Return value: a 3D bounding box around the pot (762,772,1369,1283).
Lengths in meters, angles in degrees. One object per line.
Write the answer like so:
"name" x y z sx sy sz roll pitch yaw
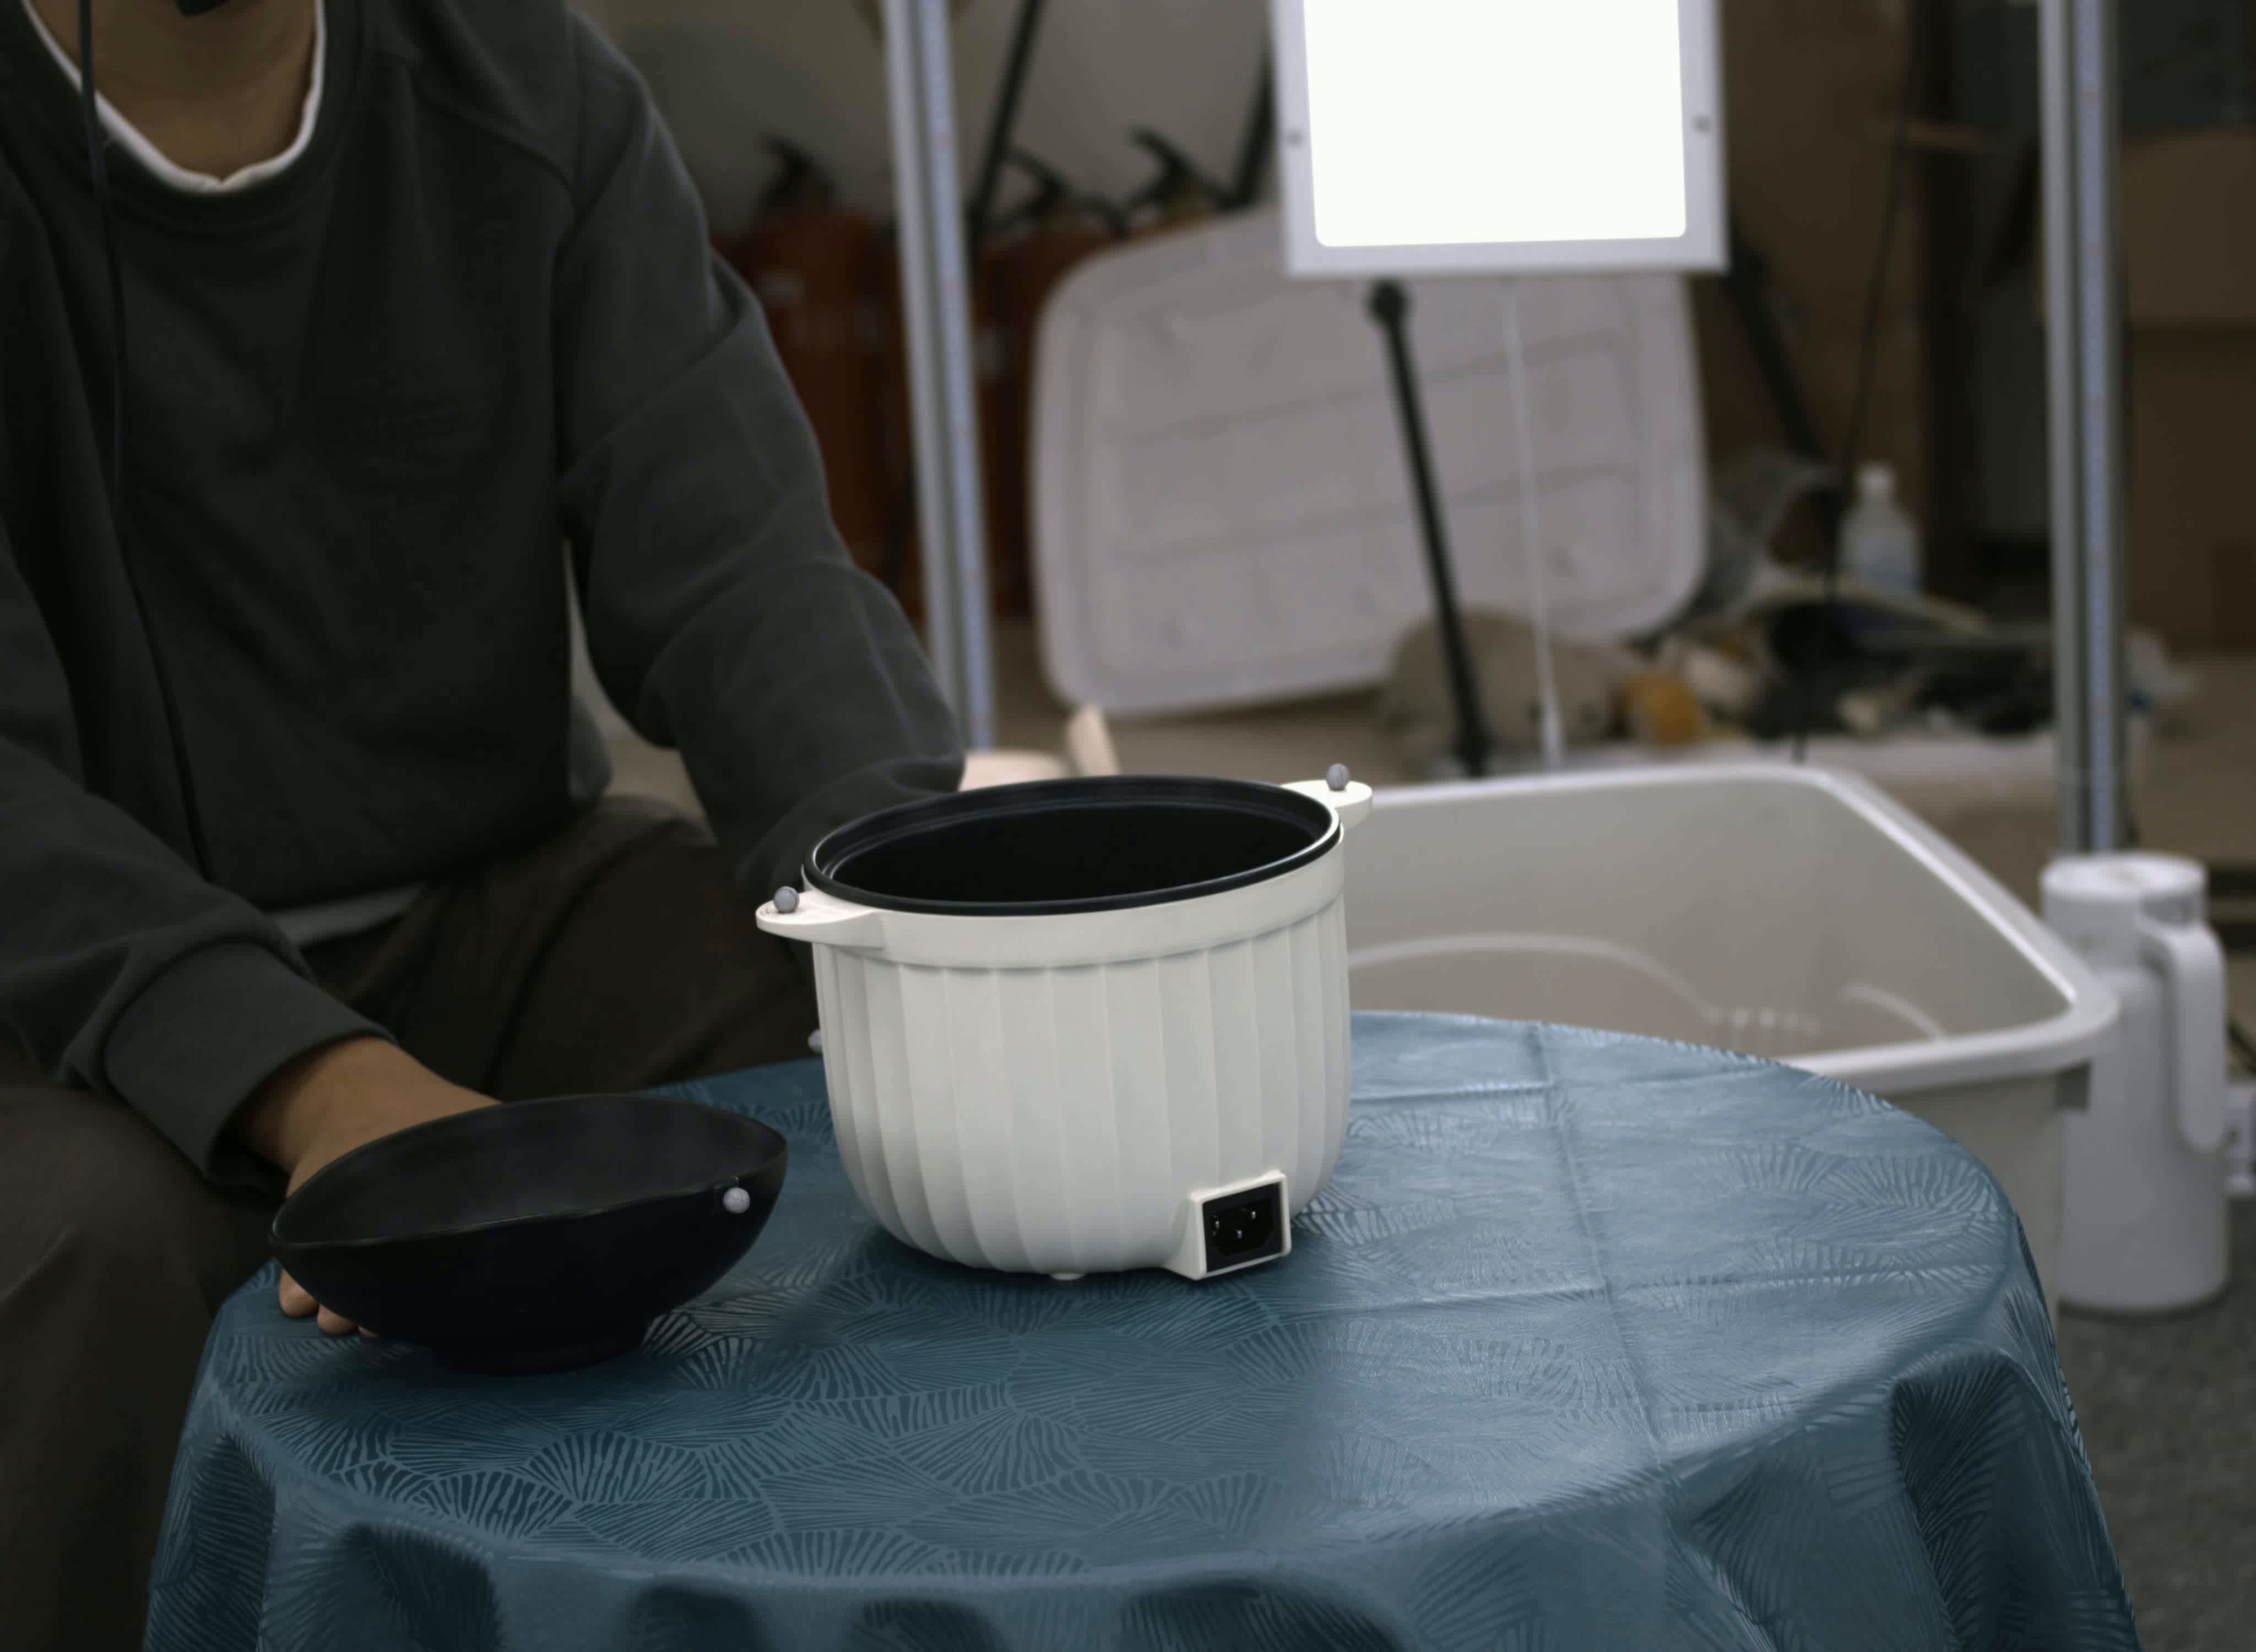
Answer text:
"pot" -0.018 0.068 1.856 0.235 0.143 0.194 -12 18 -32

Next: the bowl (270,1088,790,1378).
"bowl" -0.190 0.137 1.787 0.168 0.067 0.138 -9 14 -11
